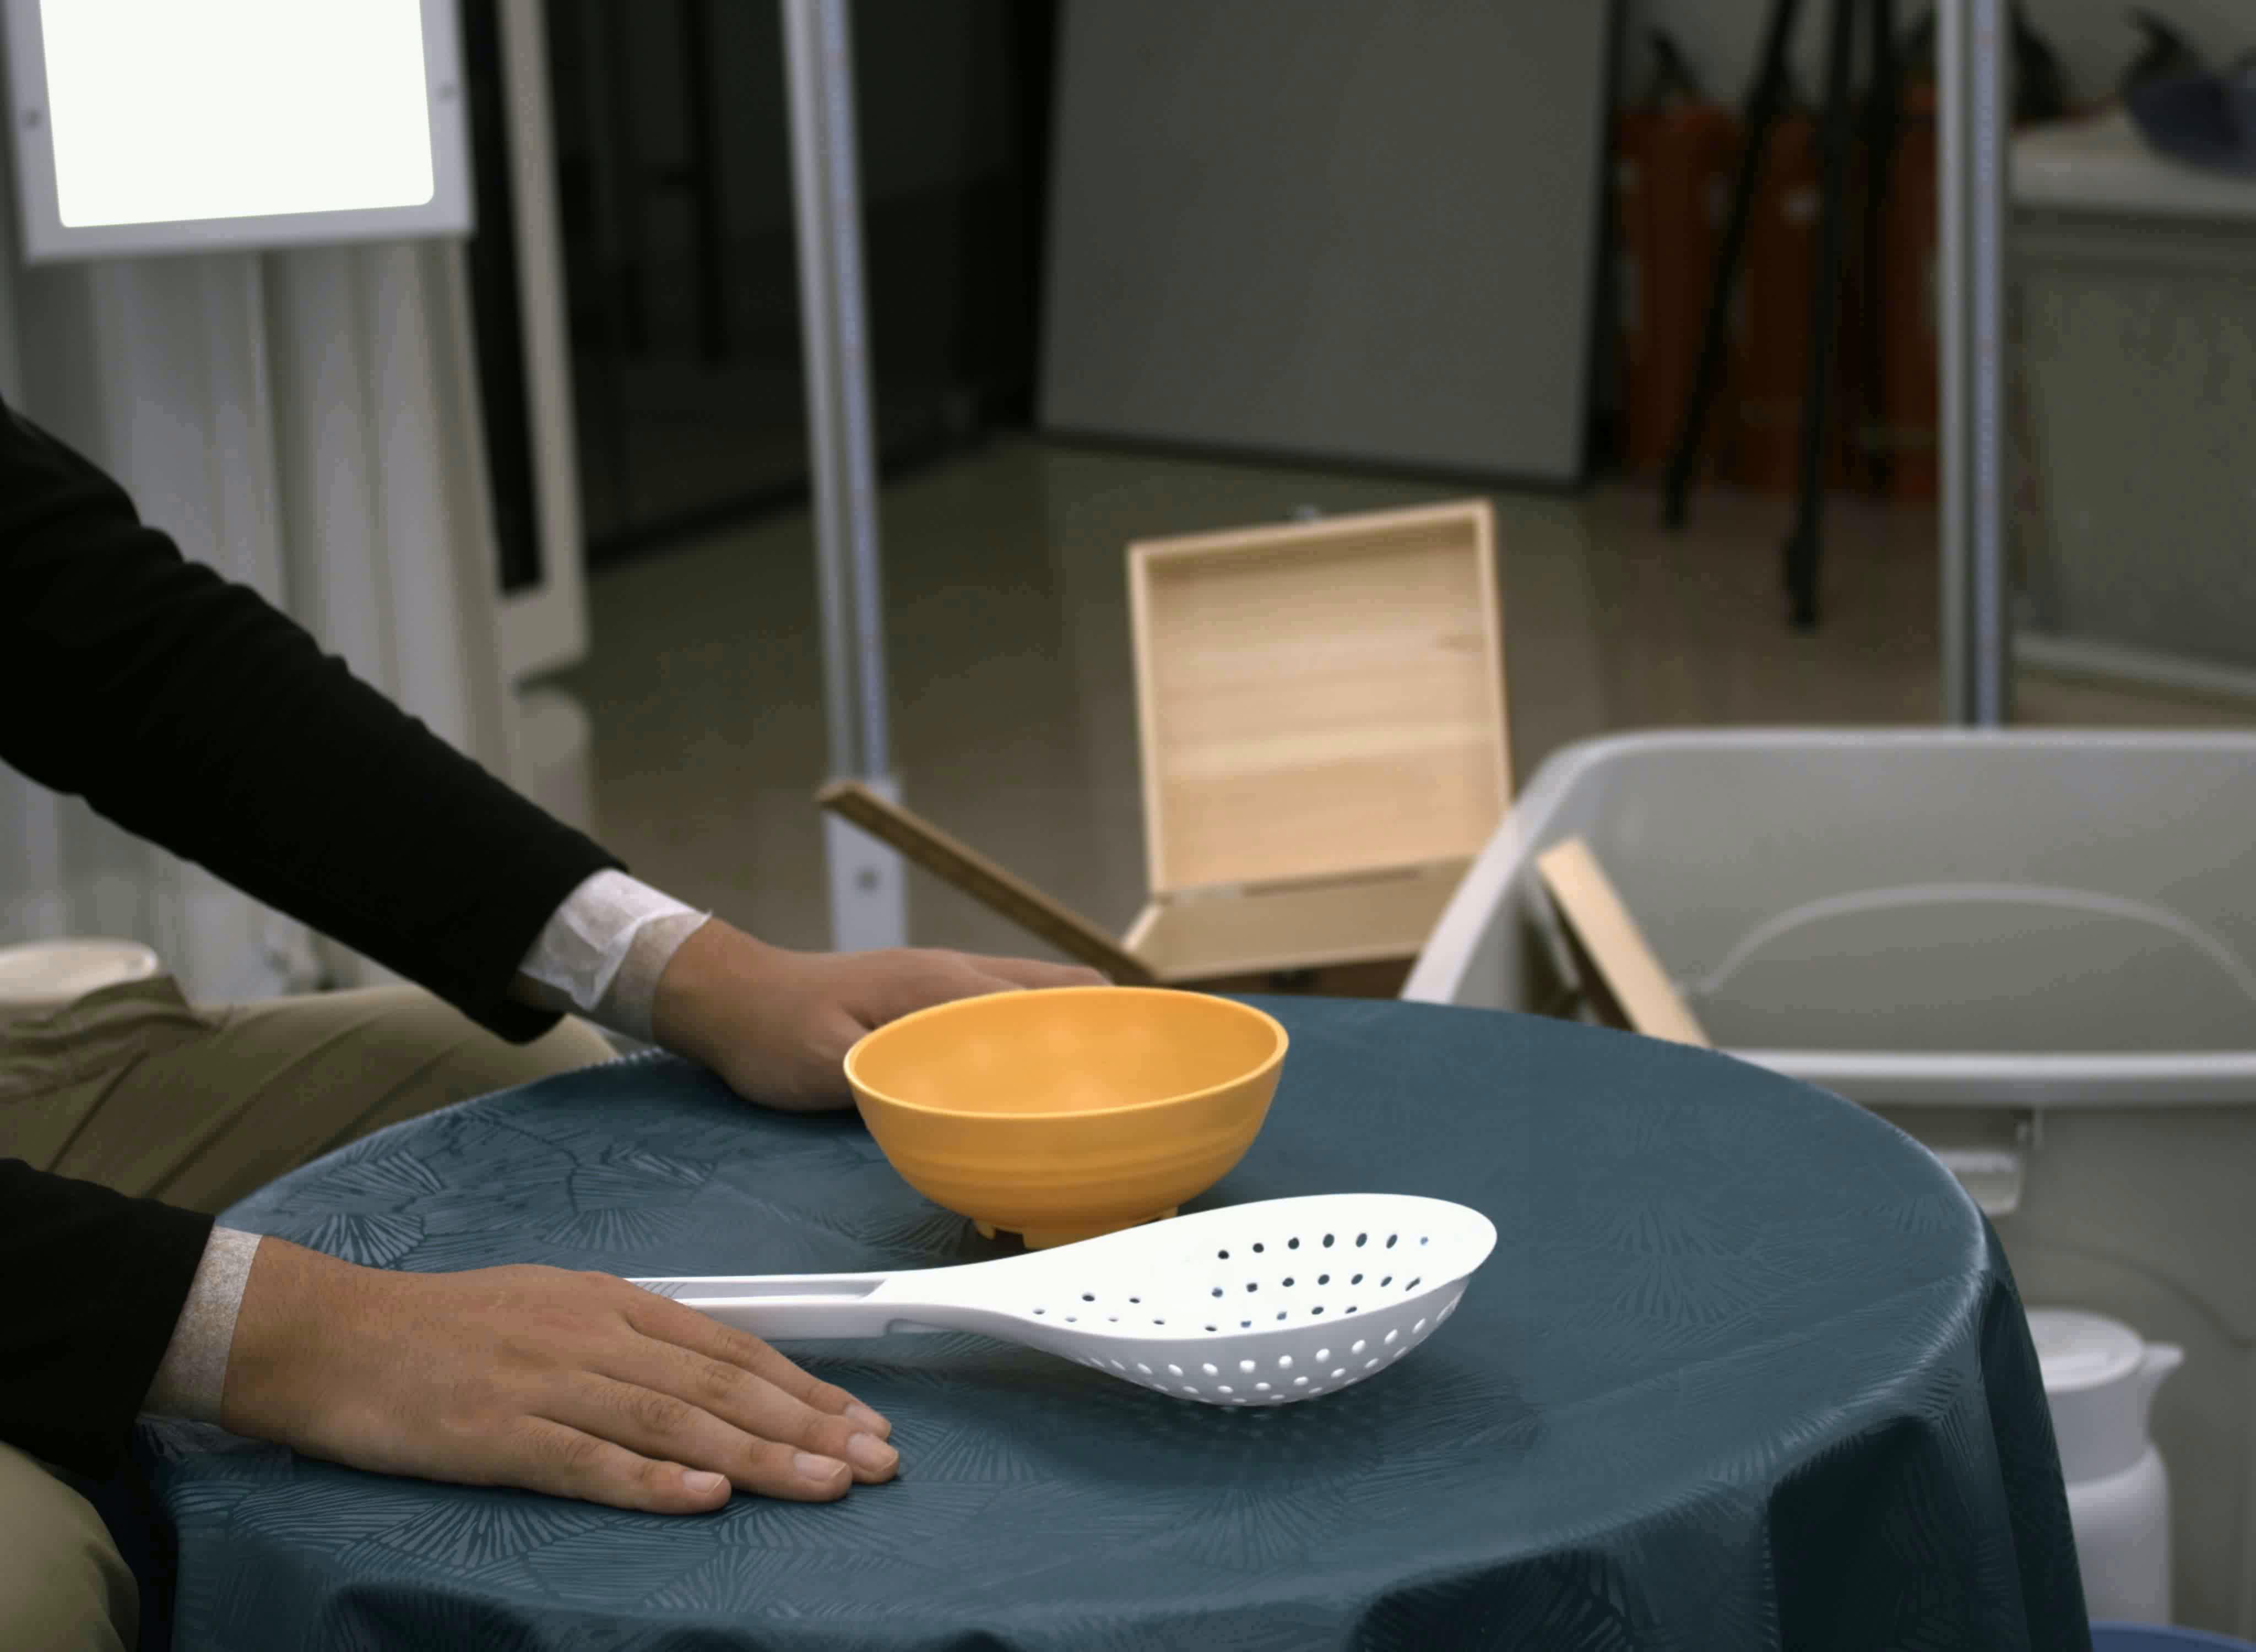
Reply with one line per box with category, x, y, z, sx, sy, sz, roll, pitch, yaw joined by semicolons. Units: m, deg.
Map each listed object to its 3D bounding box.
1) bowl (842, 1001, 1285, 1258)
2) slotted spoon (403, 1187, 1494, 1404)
bowl;-0.020;0.101;1.738;0.143;0.061;0.145;-3;12;0
slotted spoon;-0.058;0.141;1.608;0.349;0.046;0.134;0;14;21
